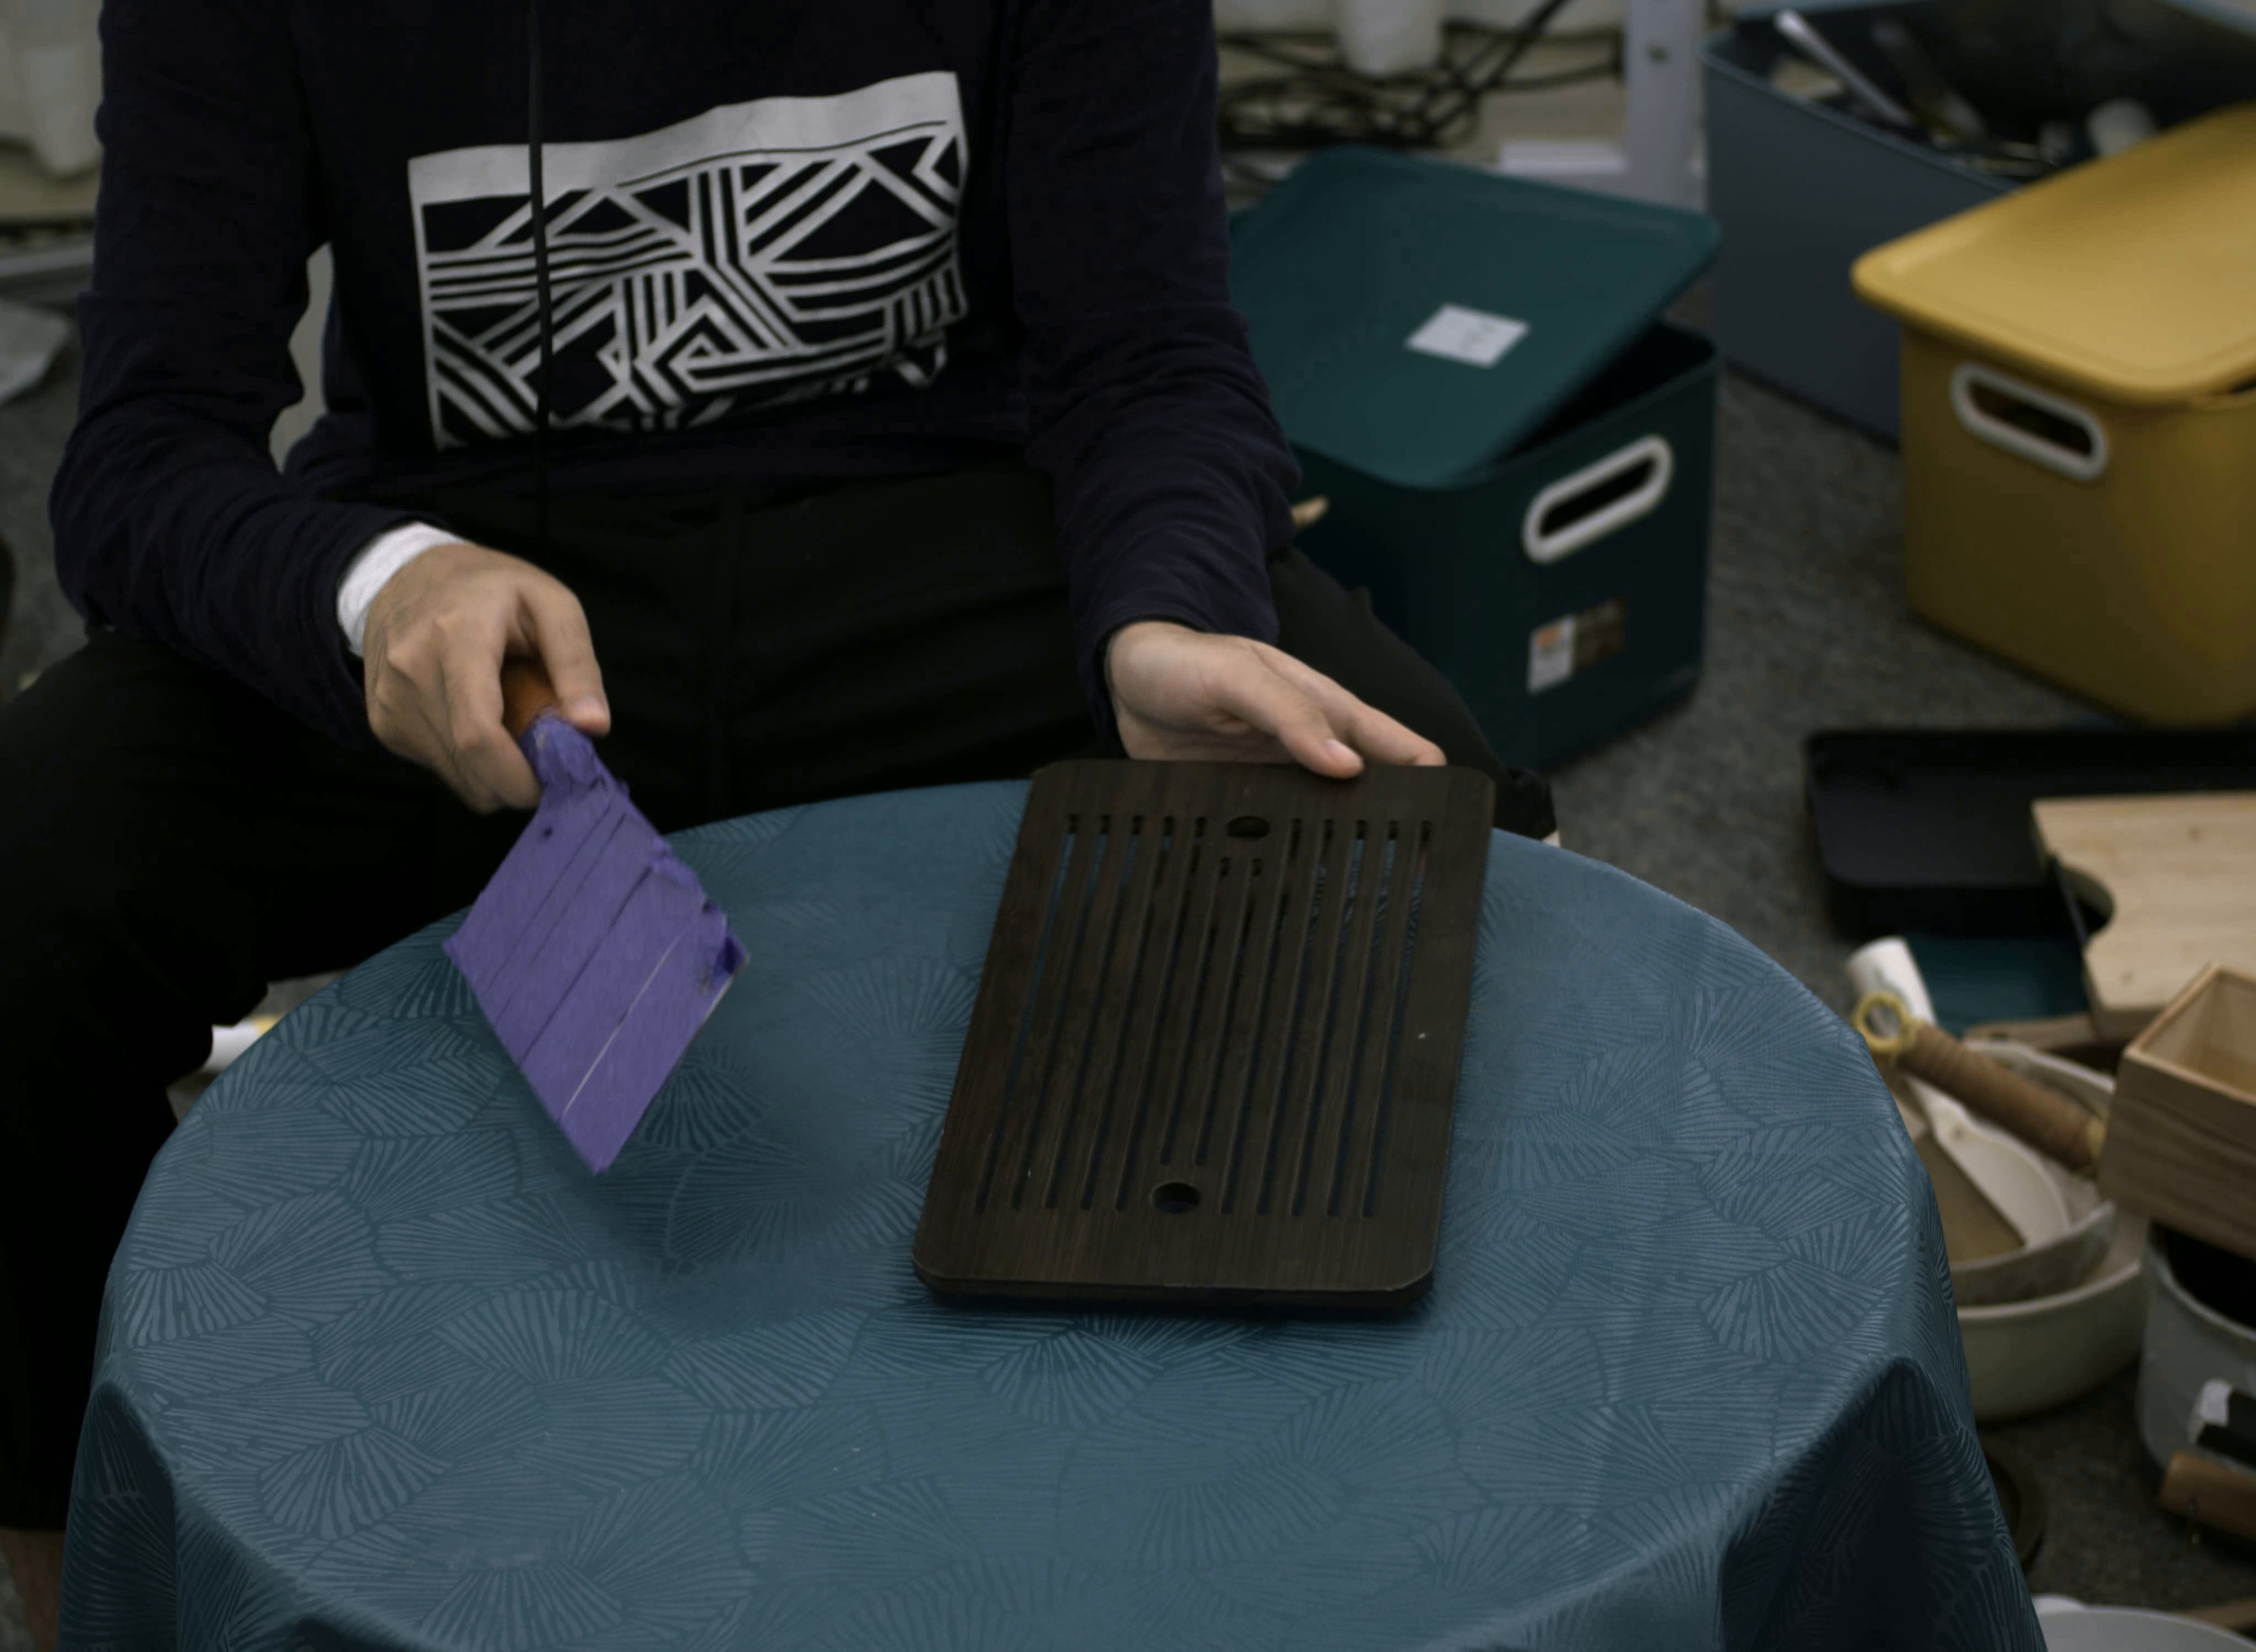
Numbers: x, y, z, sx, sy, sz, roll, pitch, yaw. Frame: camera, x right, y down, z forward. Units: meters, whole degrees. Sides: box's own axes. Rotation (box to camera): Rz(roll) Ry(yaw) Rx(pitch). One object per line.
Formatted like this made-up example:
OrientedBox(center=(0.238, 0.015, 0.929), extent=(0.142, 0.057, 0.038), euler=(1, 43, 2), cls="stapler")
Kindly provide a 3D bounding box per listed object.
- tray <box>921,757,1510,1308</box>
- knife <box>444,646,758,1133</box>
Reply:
OrientedBox(center=(0.036, 0.067, 1.914), extent=(0.169, 0.018, 0.311), euler=(1, 33, 8), cls="tray")
OrientedBox(center=(-0.199, 0.019, 1.928), extent=(0.032, 0.104, 0.317), euler=(33, 4, -26), cls="knife")
